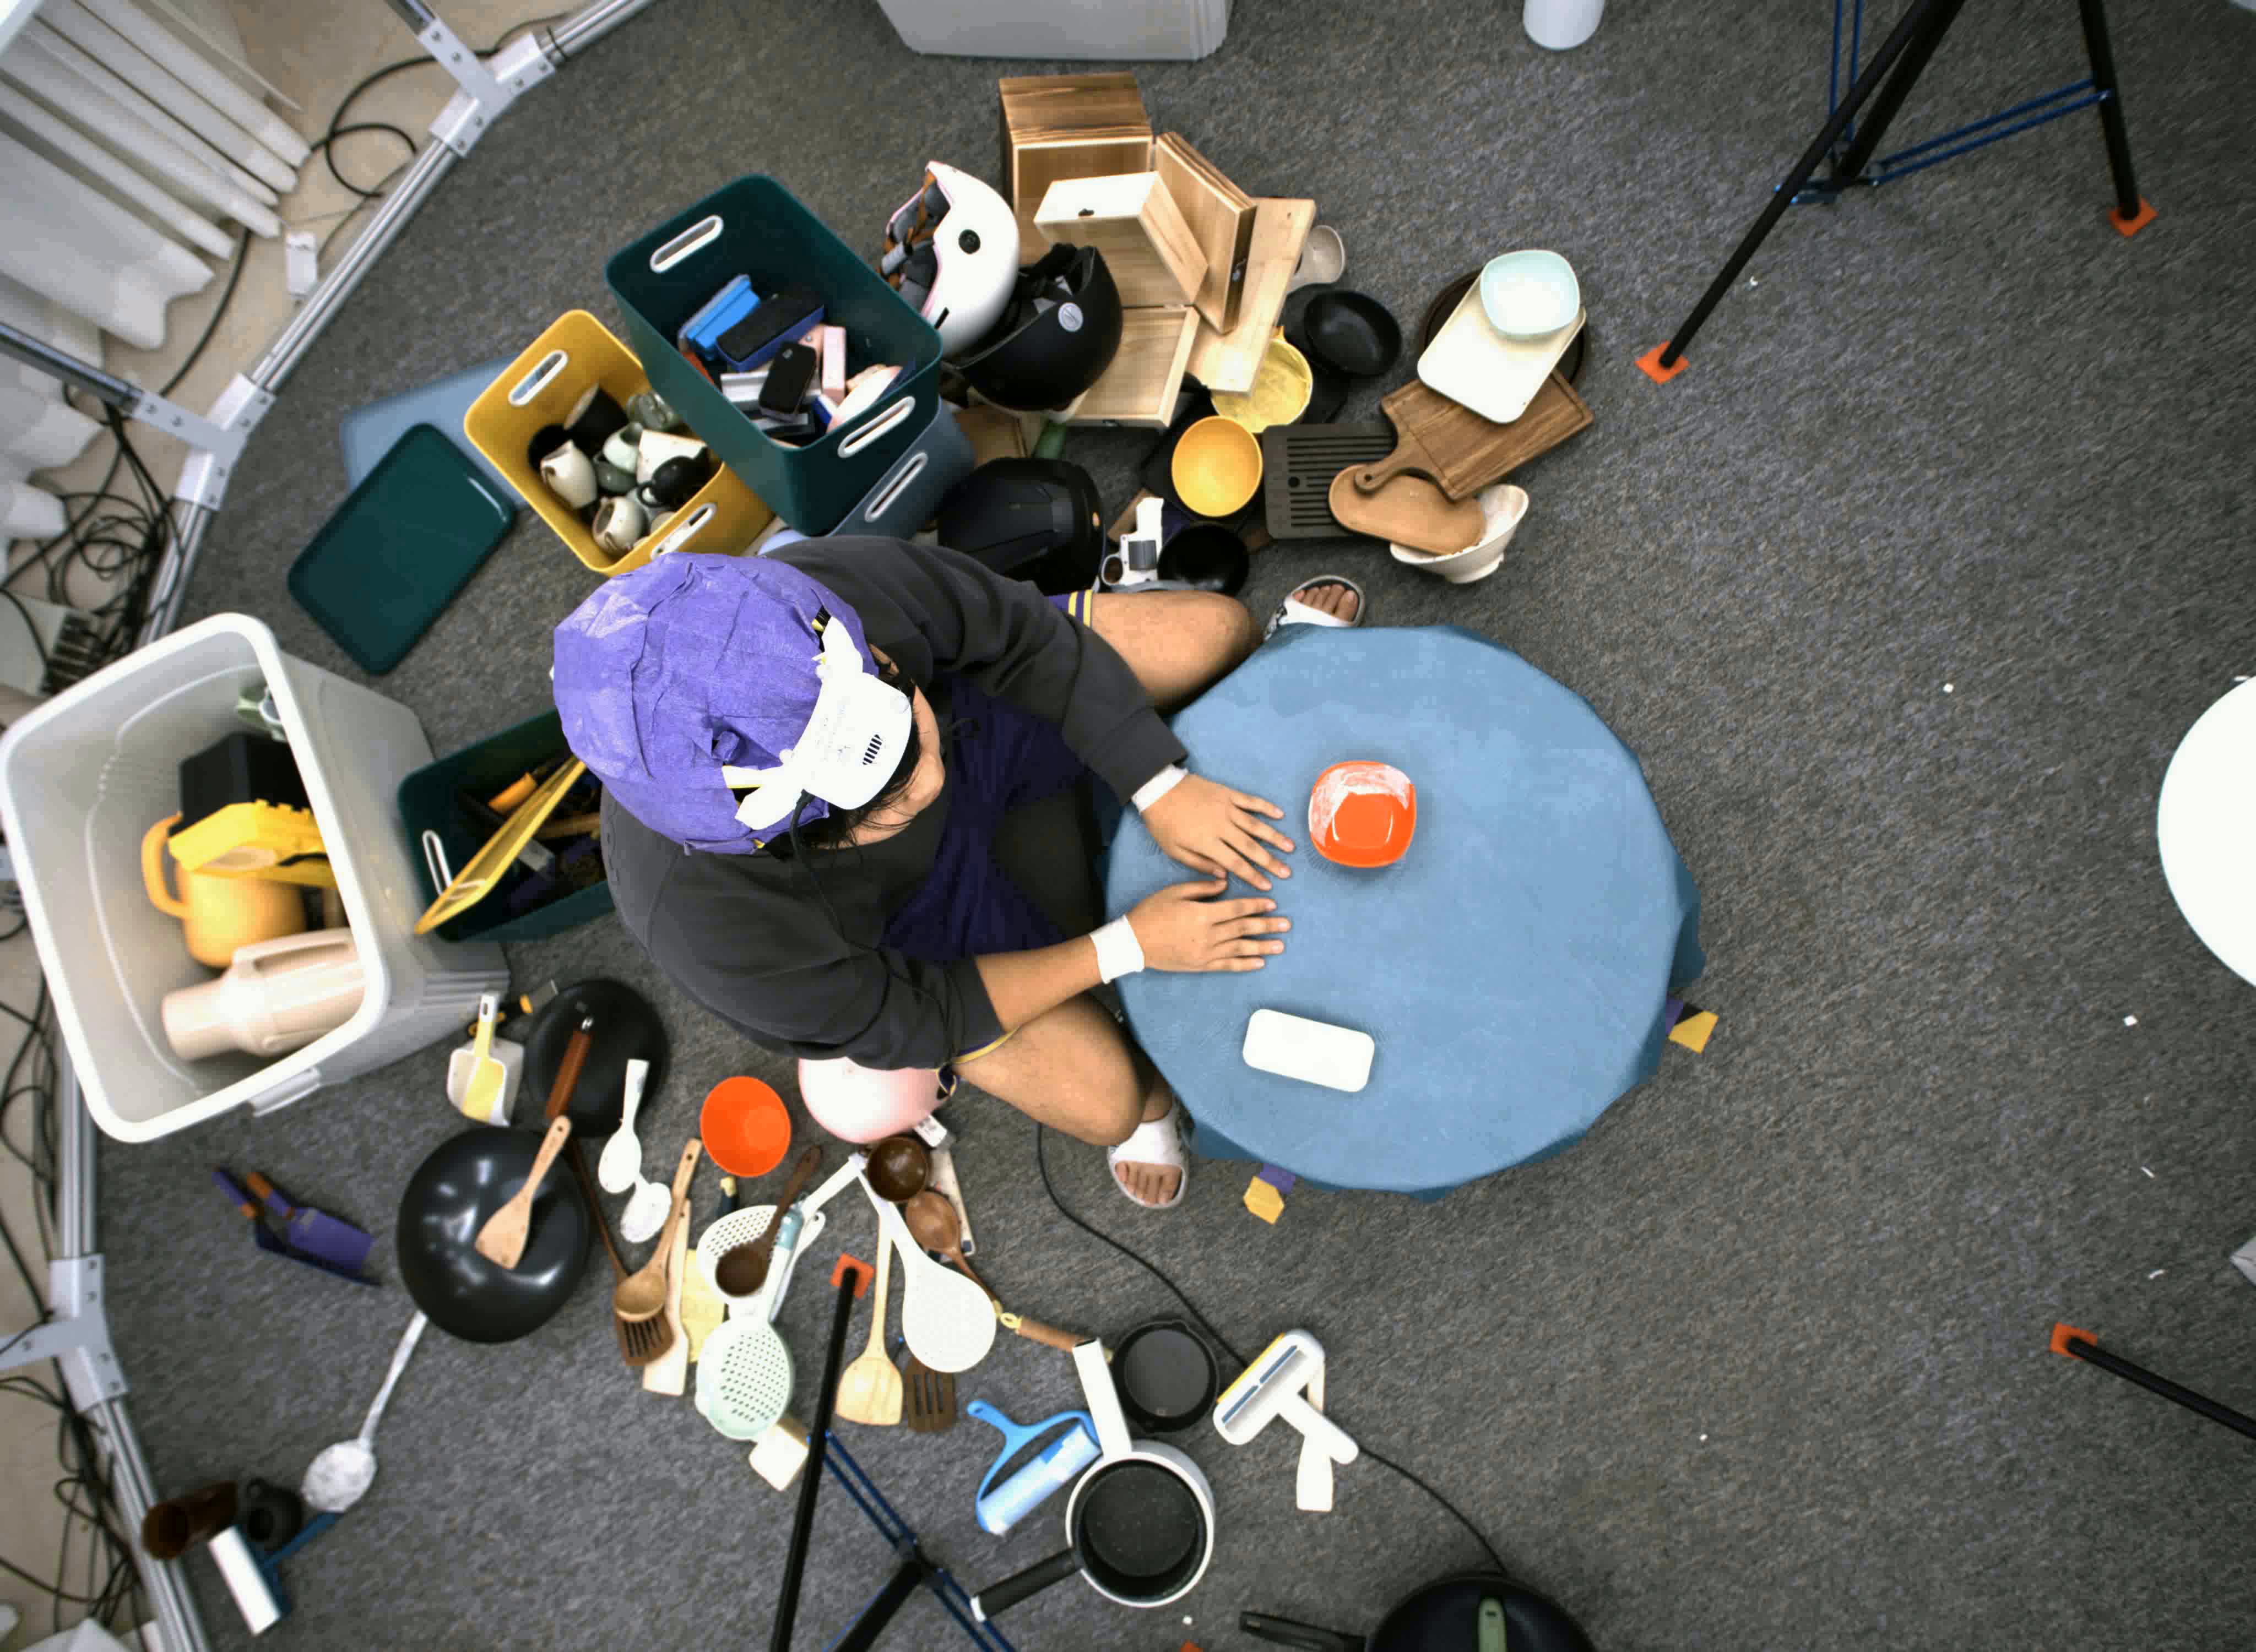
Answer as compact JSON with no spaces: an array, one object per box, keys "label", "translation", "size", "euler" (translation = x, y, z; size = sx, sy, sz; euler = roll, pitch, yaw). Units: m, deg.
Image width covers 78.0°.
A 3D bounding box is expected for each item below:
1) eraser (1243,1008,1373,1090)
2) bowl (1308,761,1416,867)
[{"label":"eraser","translation":[0.188,0.230,1.449],"size":[0.131,0.034,0.063],"euler":[15,88,9]},{"label":"bowl","translation":[0.245,-0.012,1.443],"size":[0.119,0.051,0.118],"euler":[-1,87,11]}]
